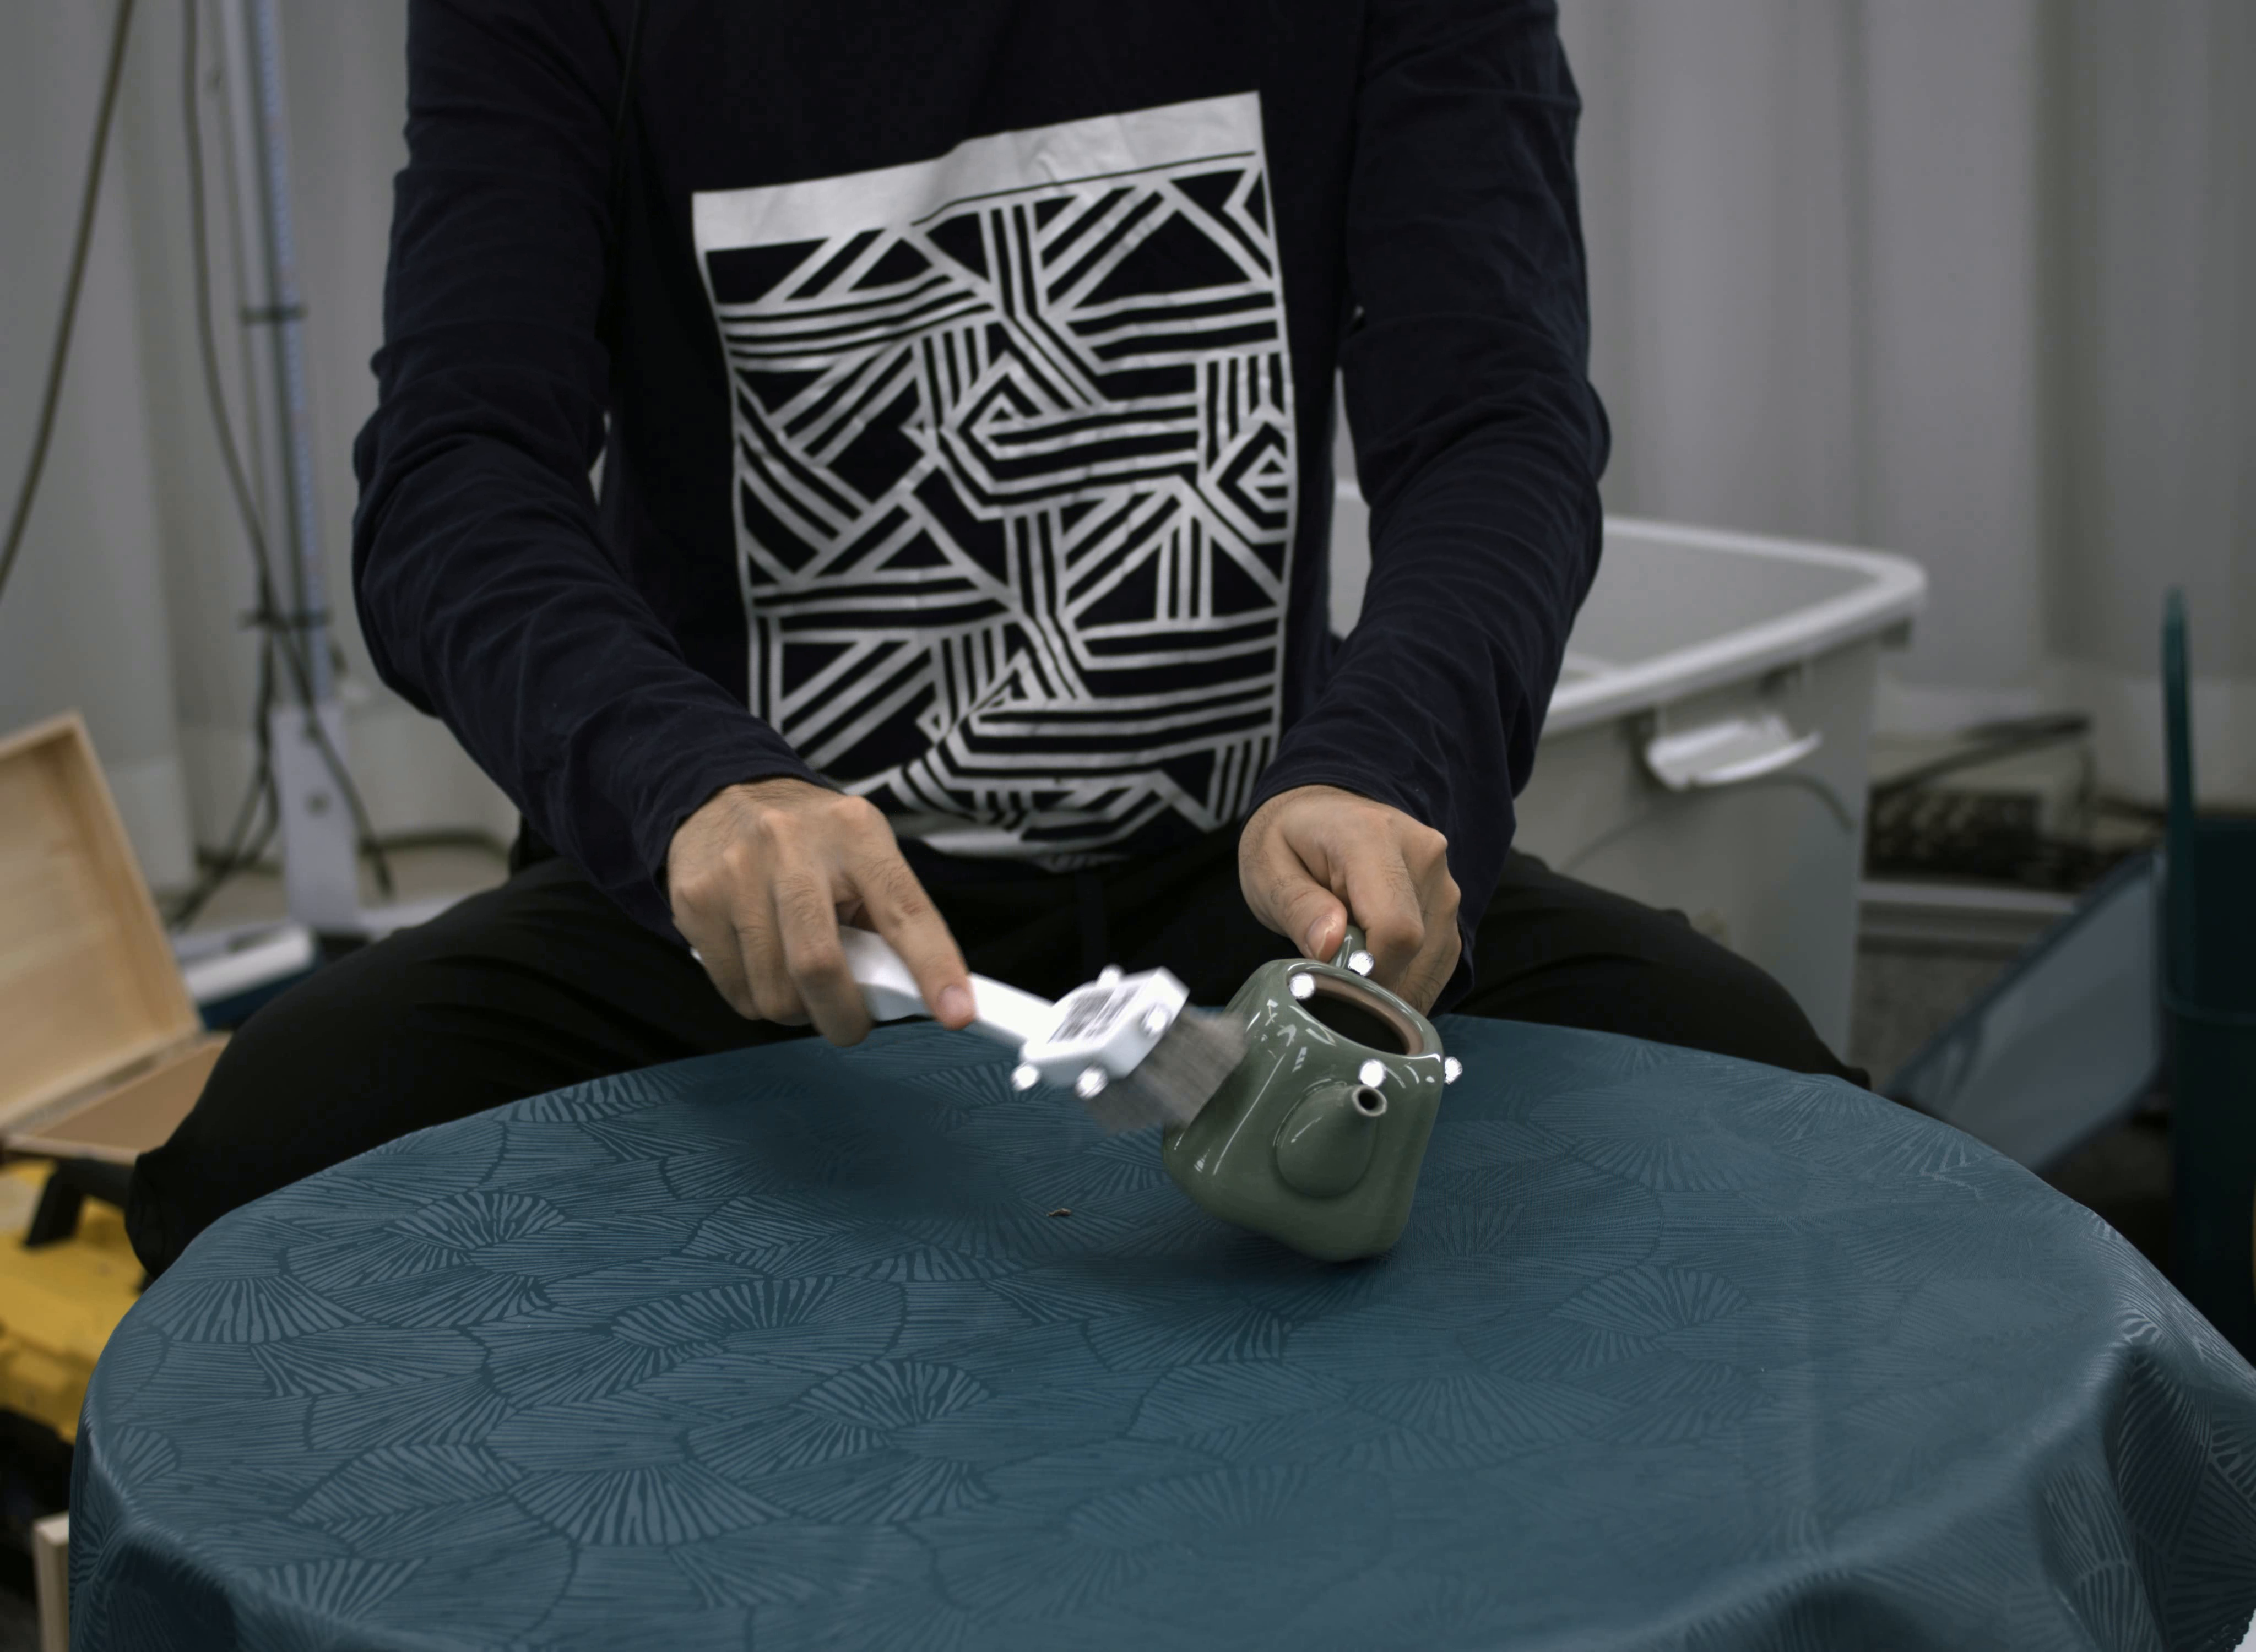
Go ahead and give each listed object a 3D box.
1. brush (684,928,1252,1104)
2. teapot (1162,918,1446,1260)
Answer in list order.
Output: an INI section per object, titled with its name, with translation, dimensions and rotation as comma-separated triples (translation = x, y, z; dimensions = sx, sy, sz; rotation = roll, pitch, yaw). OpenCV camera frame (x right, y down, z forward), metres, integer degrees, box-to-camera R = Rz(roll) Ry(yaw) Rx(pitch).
[brush]
translation = -0.051, 0.057, 1.698
dimensions = 0.244, 0.049, 0.034
rotation = 2, 55, 50
[teapot]
translation = 0.056, 0.082, 1.649
dimensions = 0.079, 0.075, 0.134
rotation = 22, 21, -11
